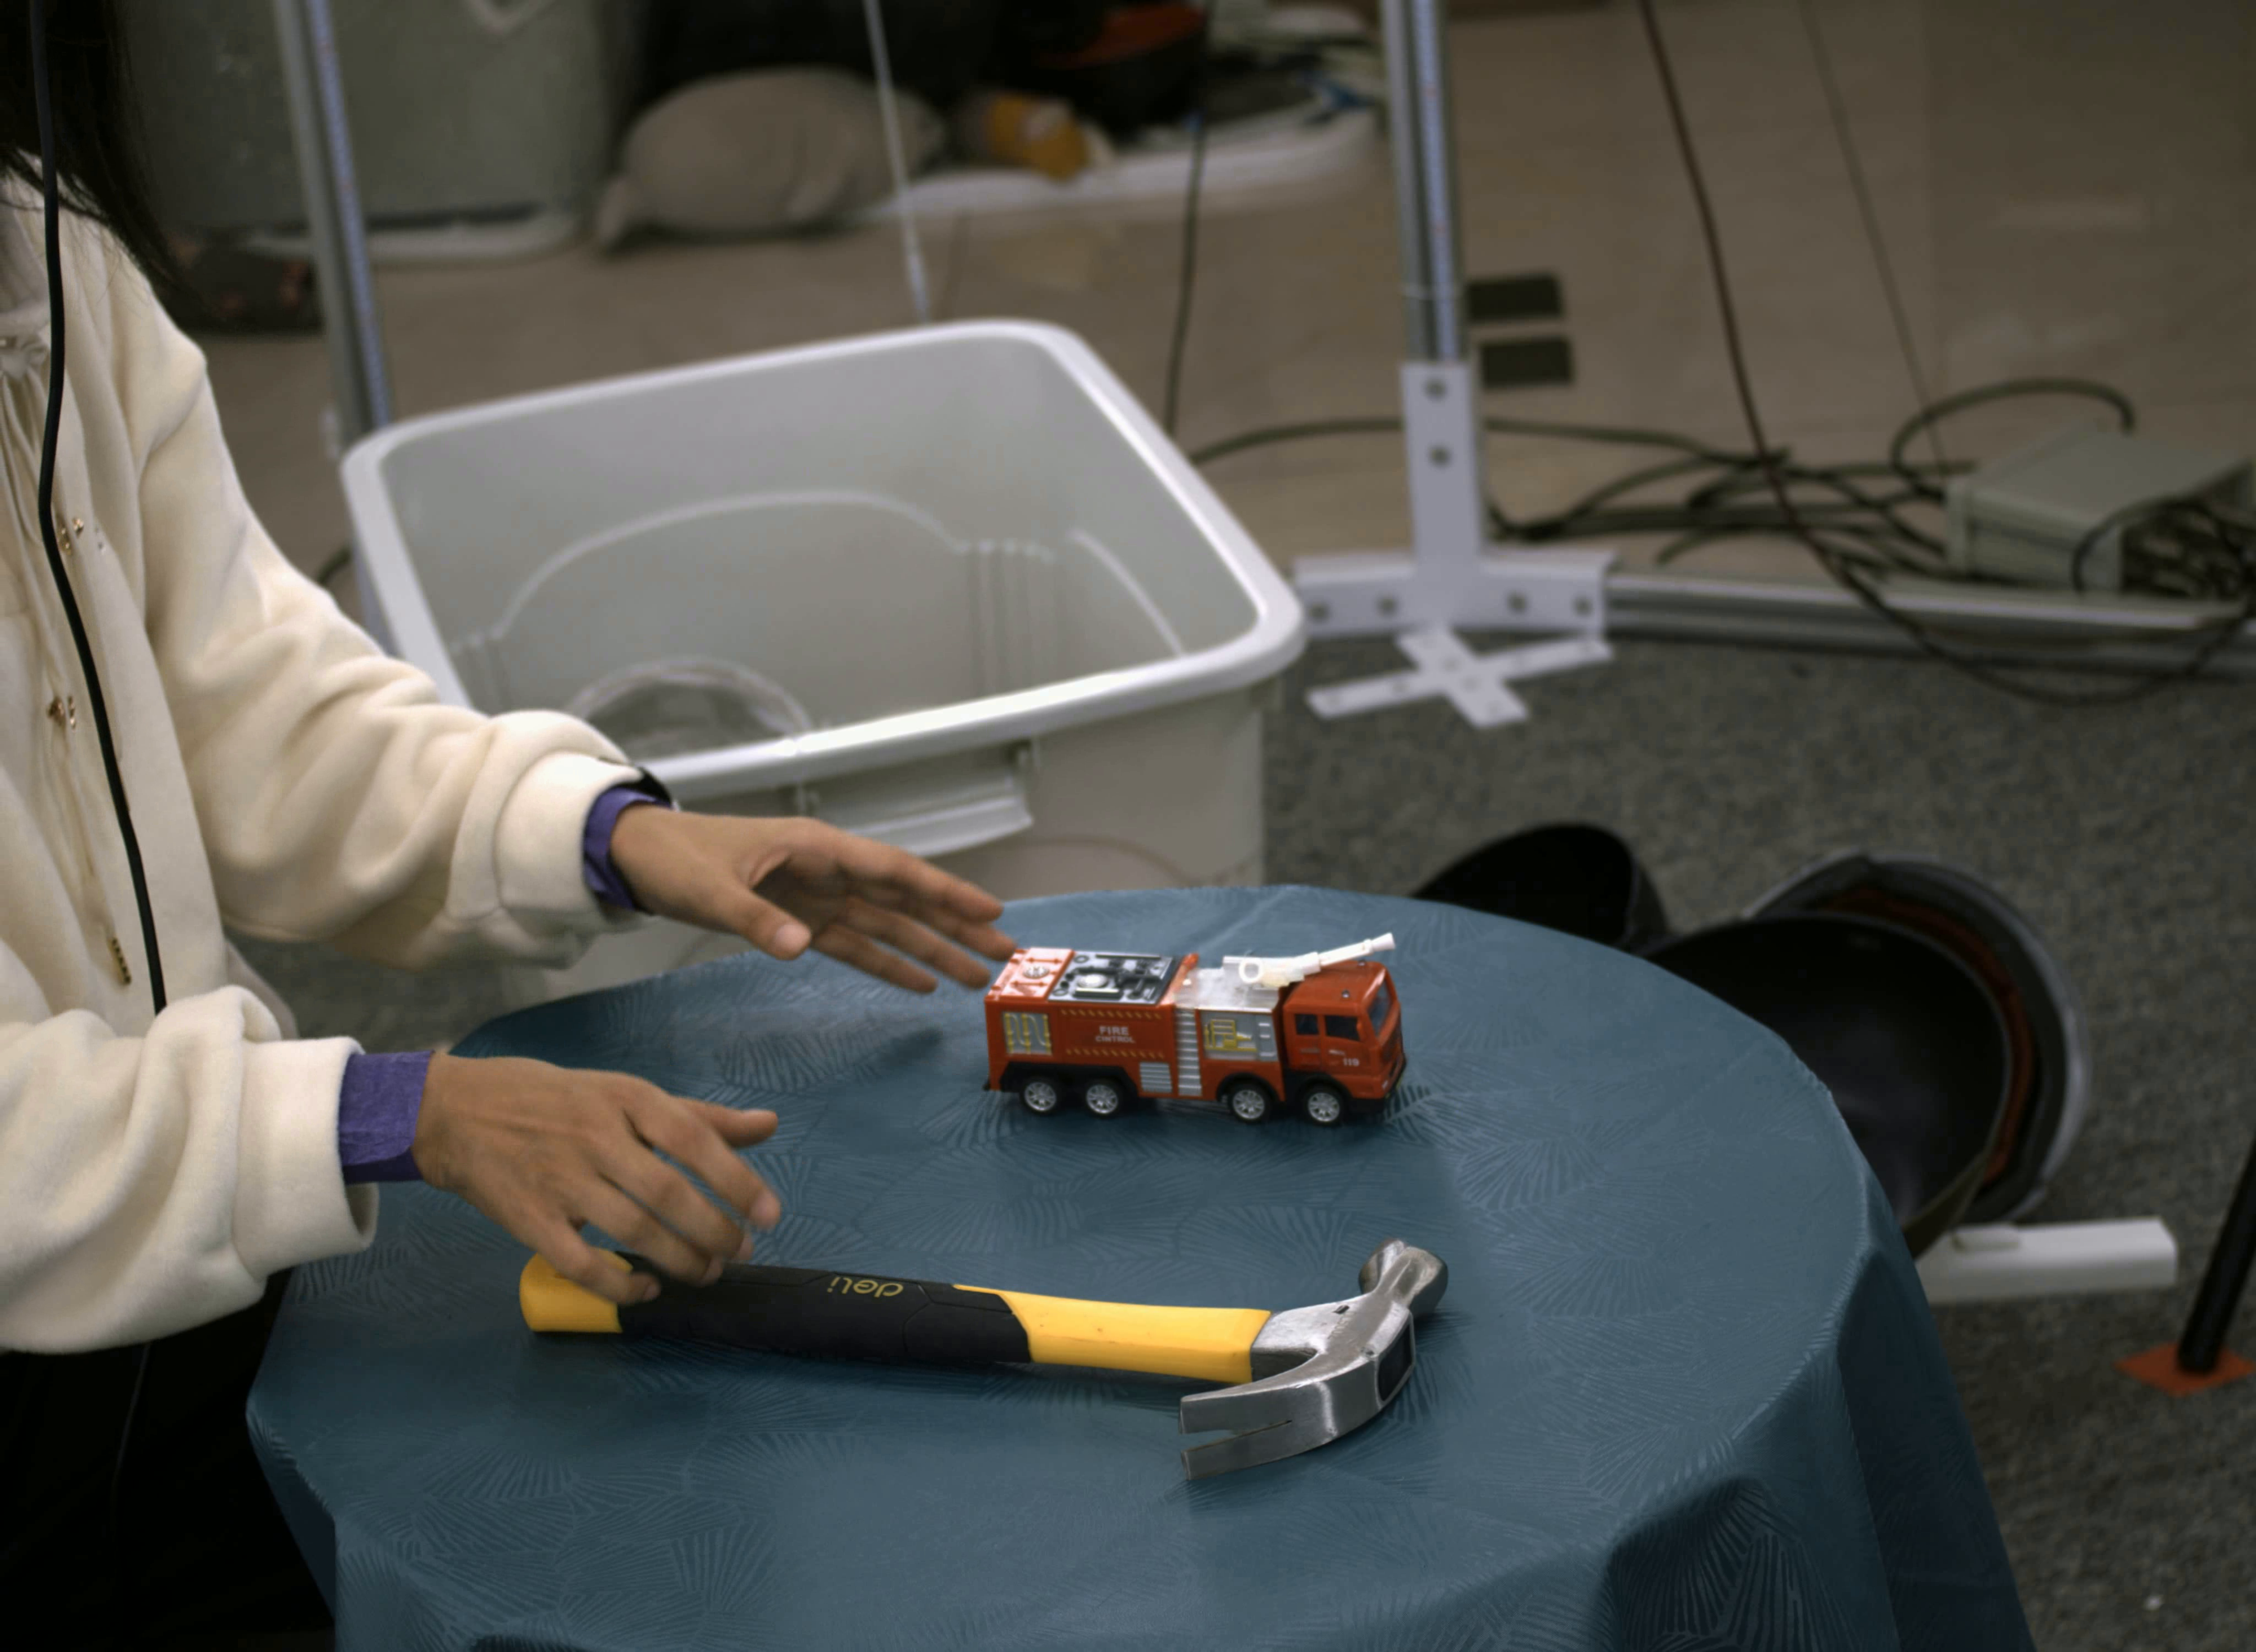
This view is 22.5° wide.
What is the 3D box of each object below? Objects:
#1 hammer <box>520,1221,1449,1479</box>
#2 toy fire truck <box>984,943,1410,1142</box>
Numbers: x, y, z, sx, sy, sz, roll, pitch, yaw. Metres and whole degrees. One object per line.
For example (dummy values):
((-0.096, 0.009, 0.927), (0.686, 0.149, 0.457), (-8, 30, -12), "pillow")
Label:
((-0.063, 0.174, 2.042), (0.337, 0.033, 0.129), (5, 28, 20), "hammer")
((0.027, 0.080, 2.198), (0.167, 0.071, 0.053), (1, 26, 17), "toy fire truck")
